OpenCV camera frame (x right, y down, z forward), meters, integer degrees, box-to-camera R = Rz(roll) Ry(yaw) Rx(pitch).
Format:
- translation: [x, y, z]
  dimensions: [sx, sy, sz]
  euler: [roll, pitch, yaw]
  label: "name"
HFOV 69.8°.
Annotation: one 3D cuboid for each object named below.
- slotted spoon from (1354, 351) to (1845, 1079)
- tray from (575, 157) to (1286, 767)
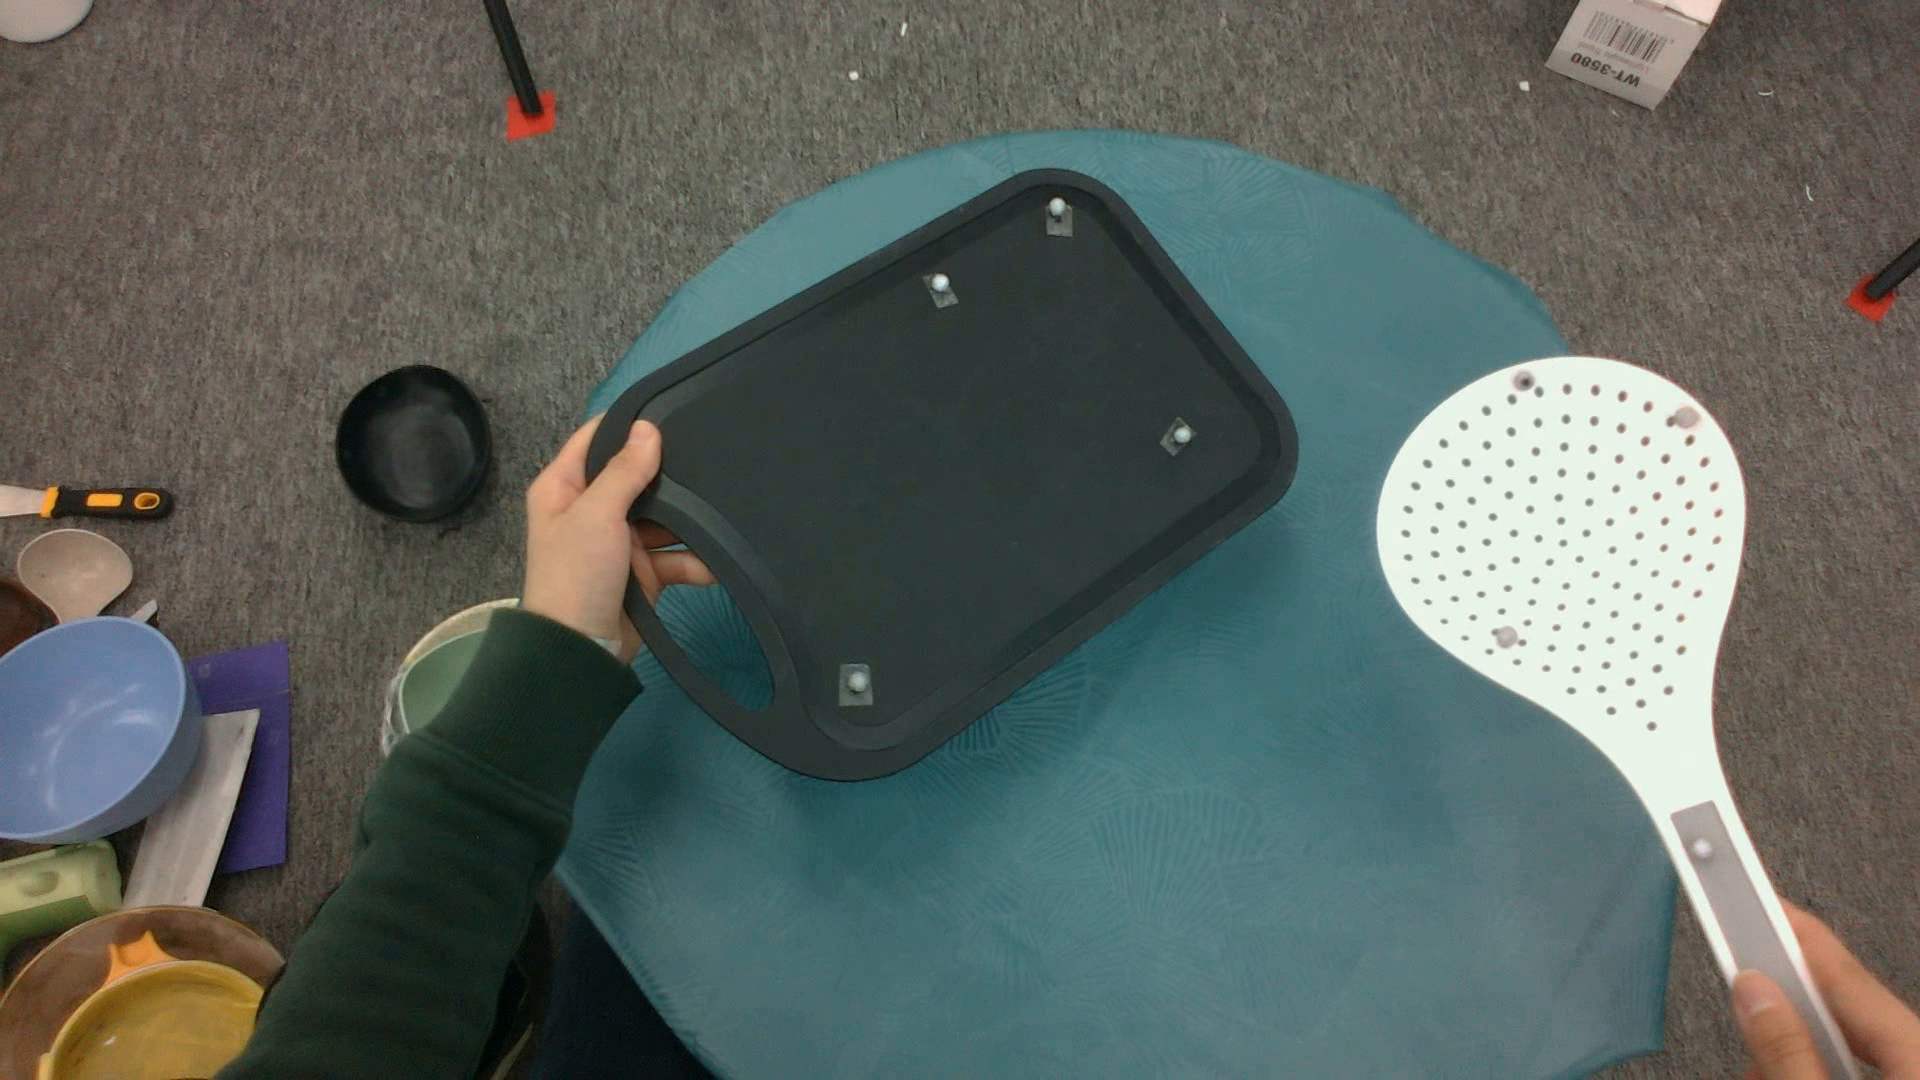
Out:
- translation: [0.259, 0.080, 0.522]
  dimensions: [0.135, 0.046, 0.351]
  euler: [-26, 56, 20]
  label: "slotted spoon"
- translation: [-0.008, -0.046, 0.633]
  dimensions: [0.326, 0.010, 0.211]
  euler: [-33, 81, -22]
  label: "tray"
